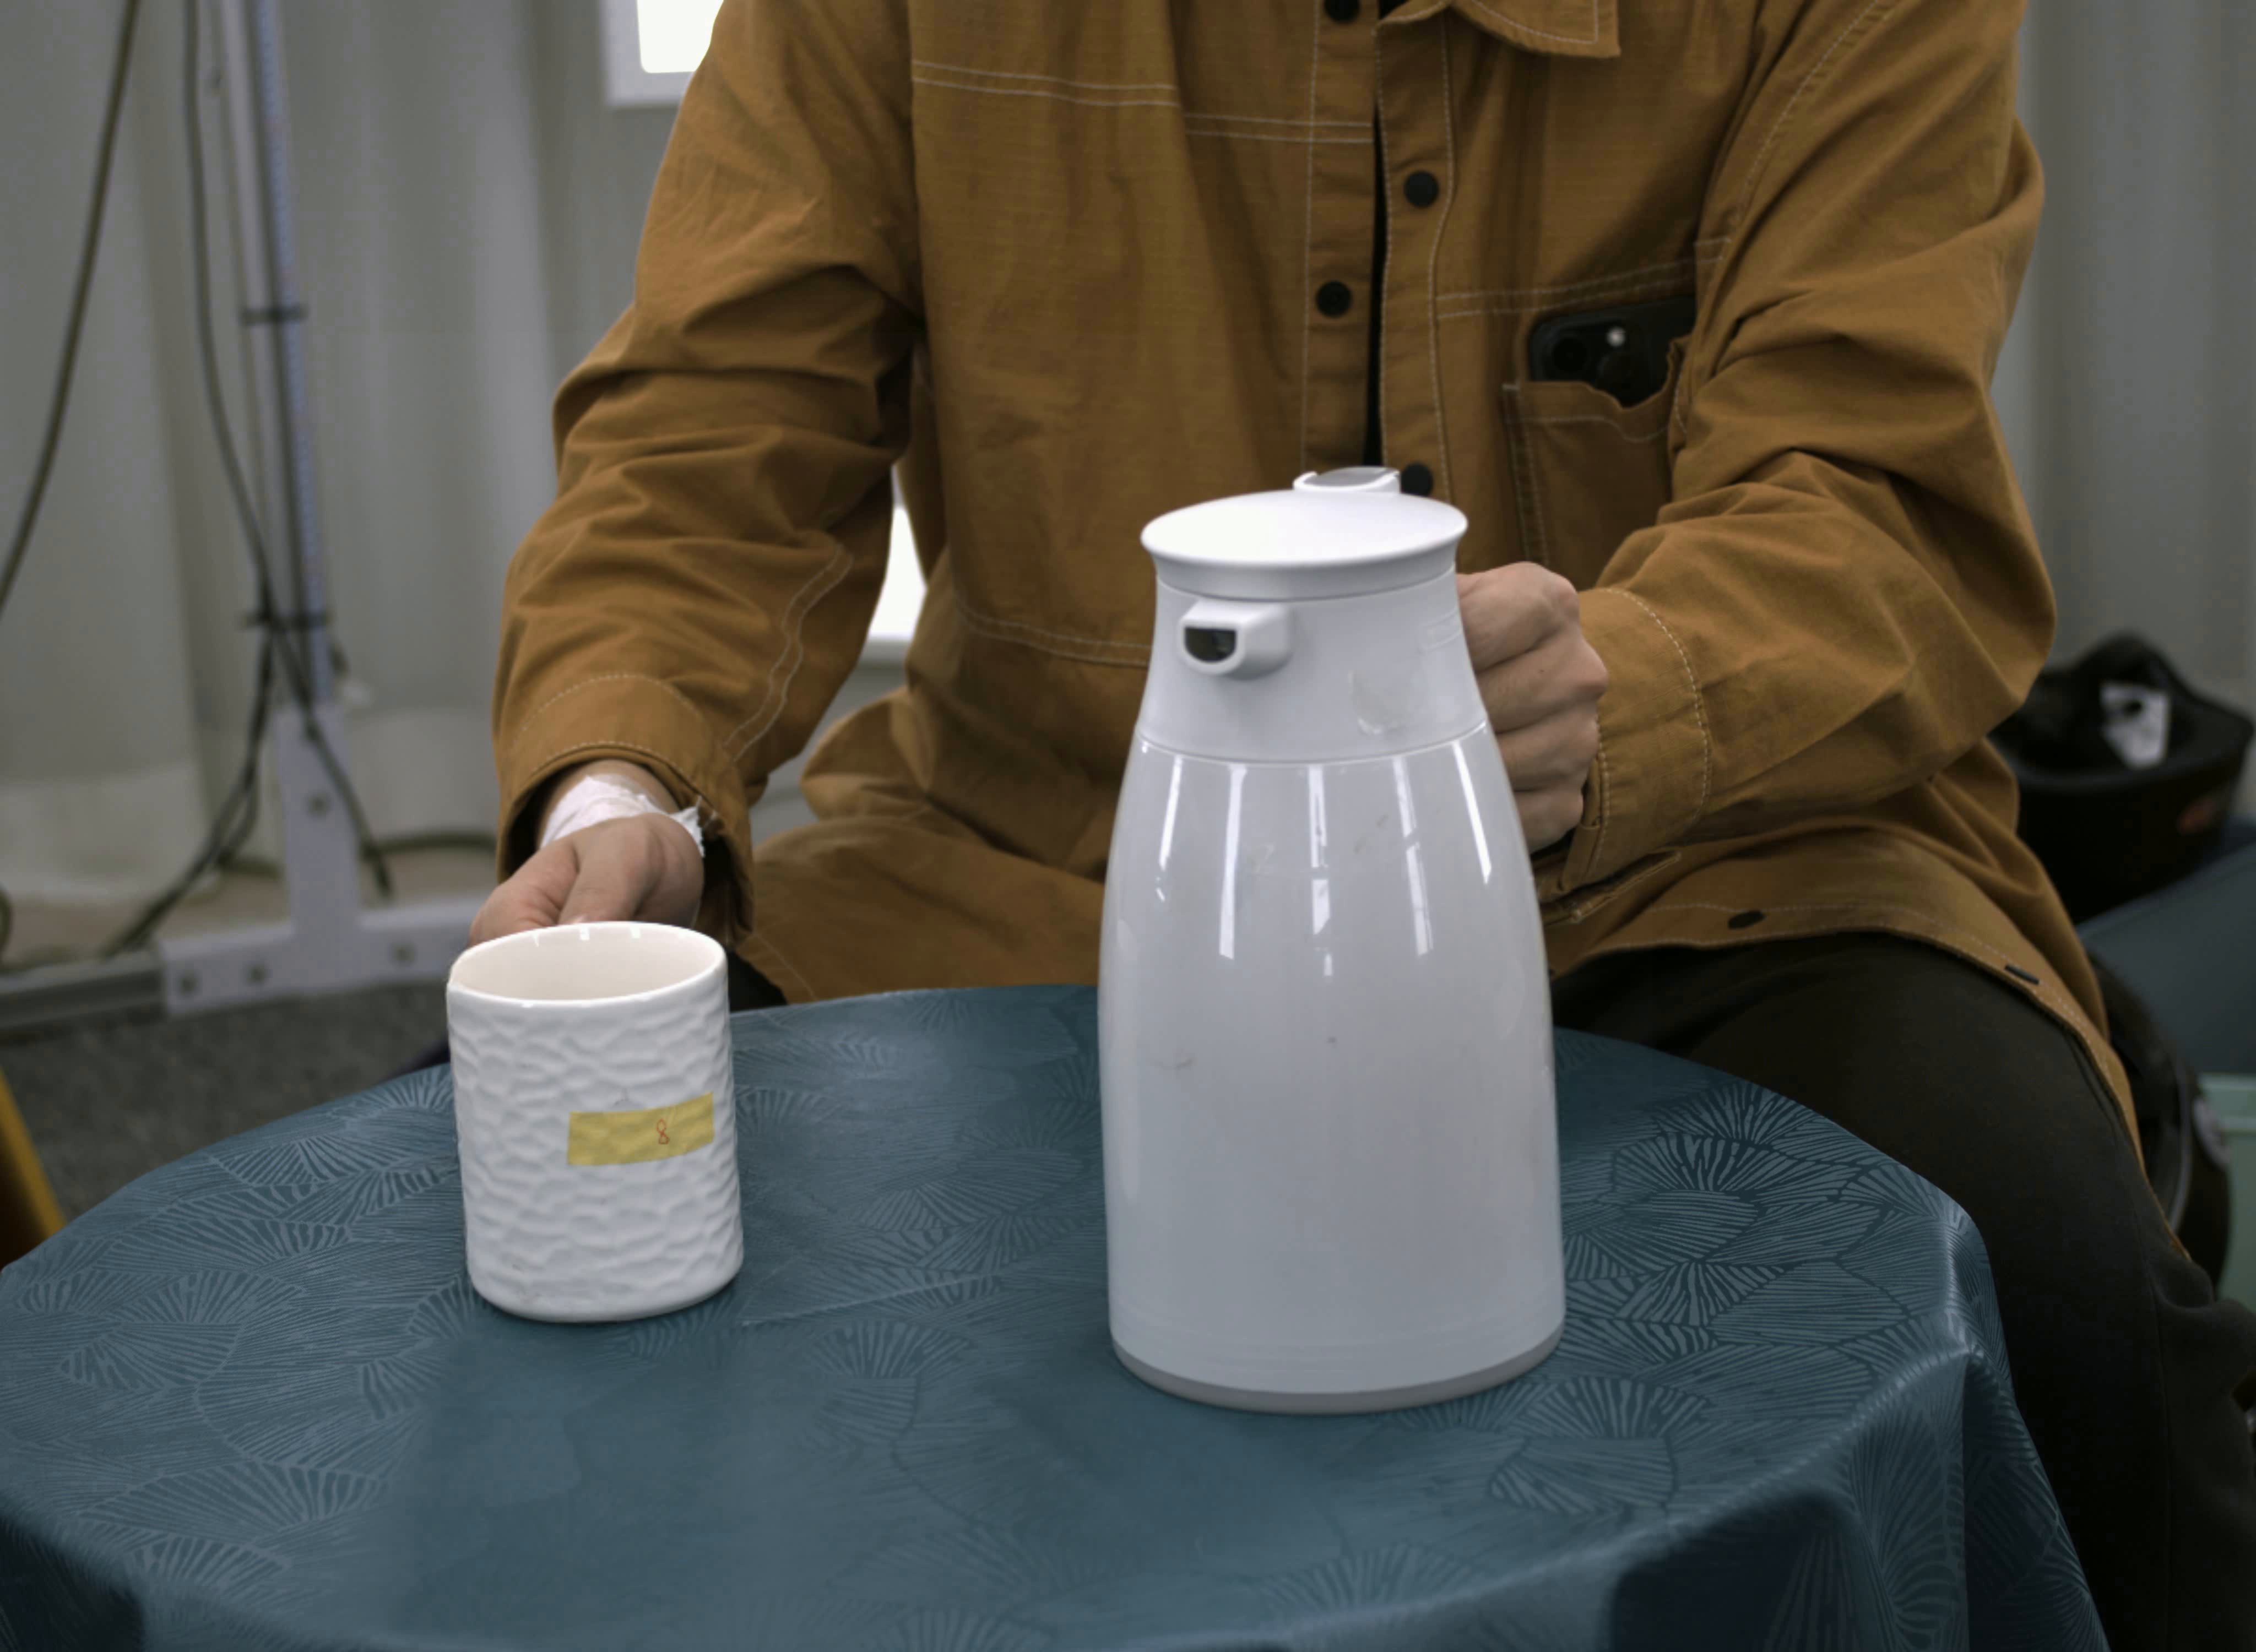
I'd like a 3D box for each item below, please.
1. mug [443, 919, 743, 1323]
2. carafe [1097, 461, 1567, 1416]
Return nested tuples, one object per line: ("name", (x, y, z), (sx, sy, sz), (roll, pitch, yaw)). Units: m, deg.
("mug", (-0.162, 0.085, 1.660), (0.084, 0.101, 0.119), (-4, 14, -6))
("carafe", (0.061, 0.023, 1.568), (0.133, 0.248, 0.168), (3, 14, 25))
